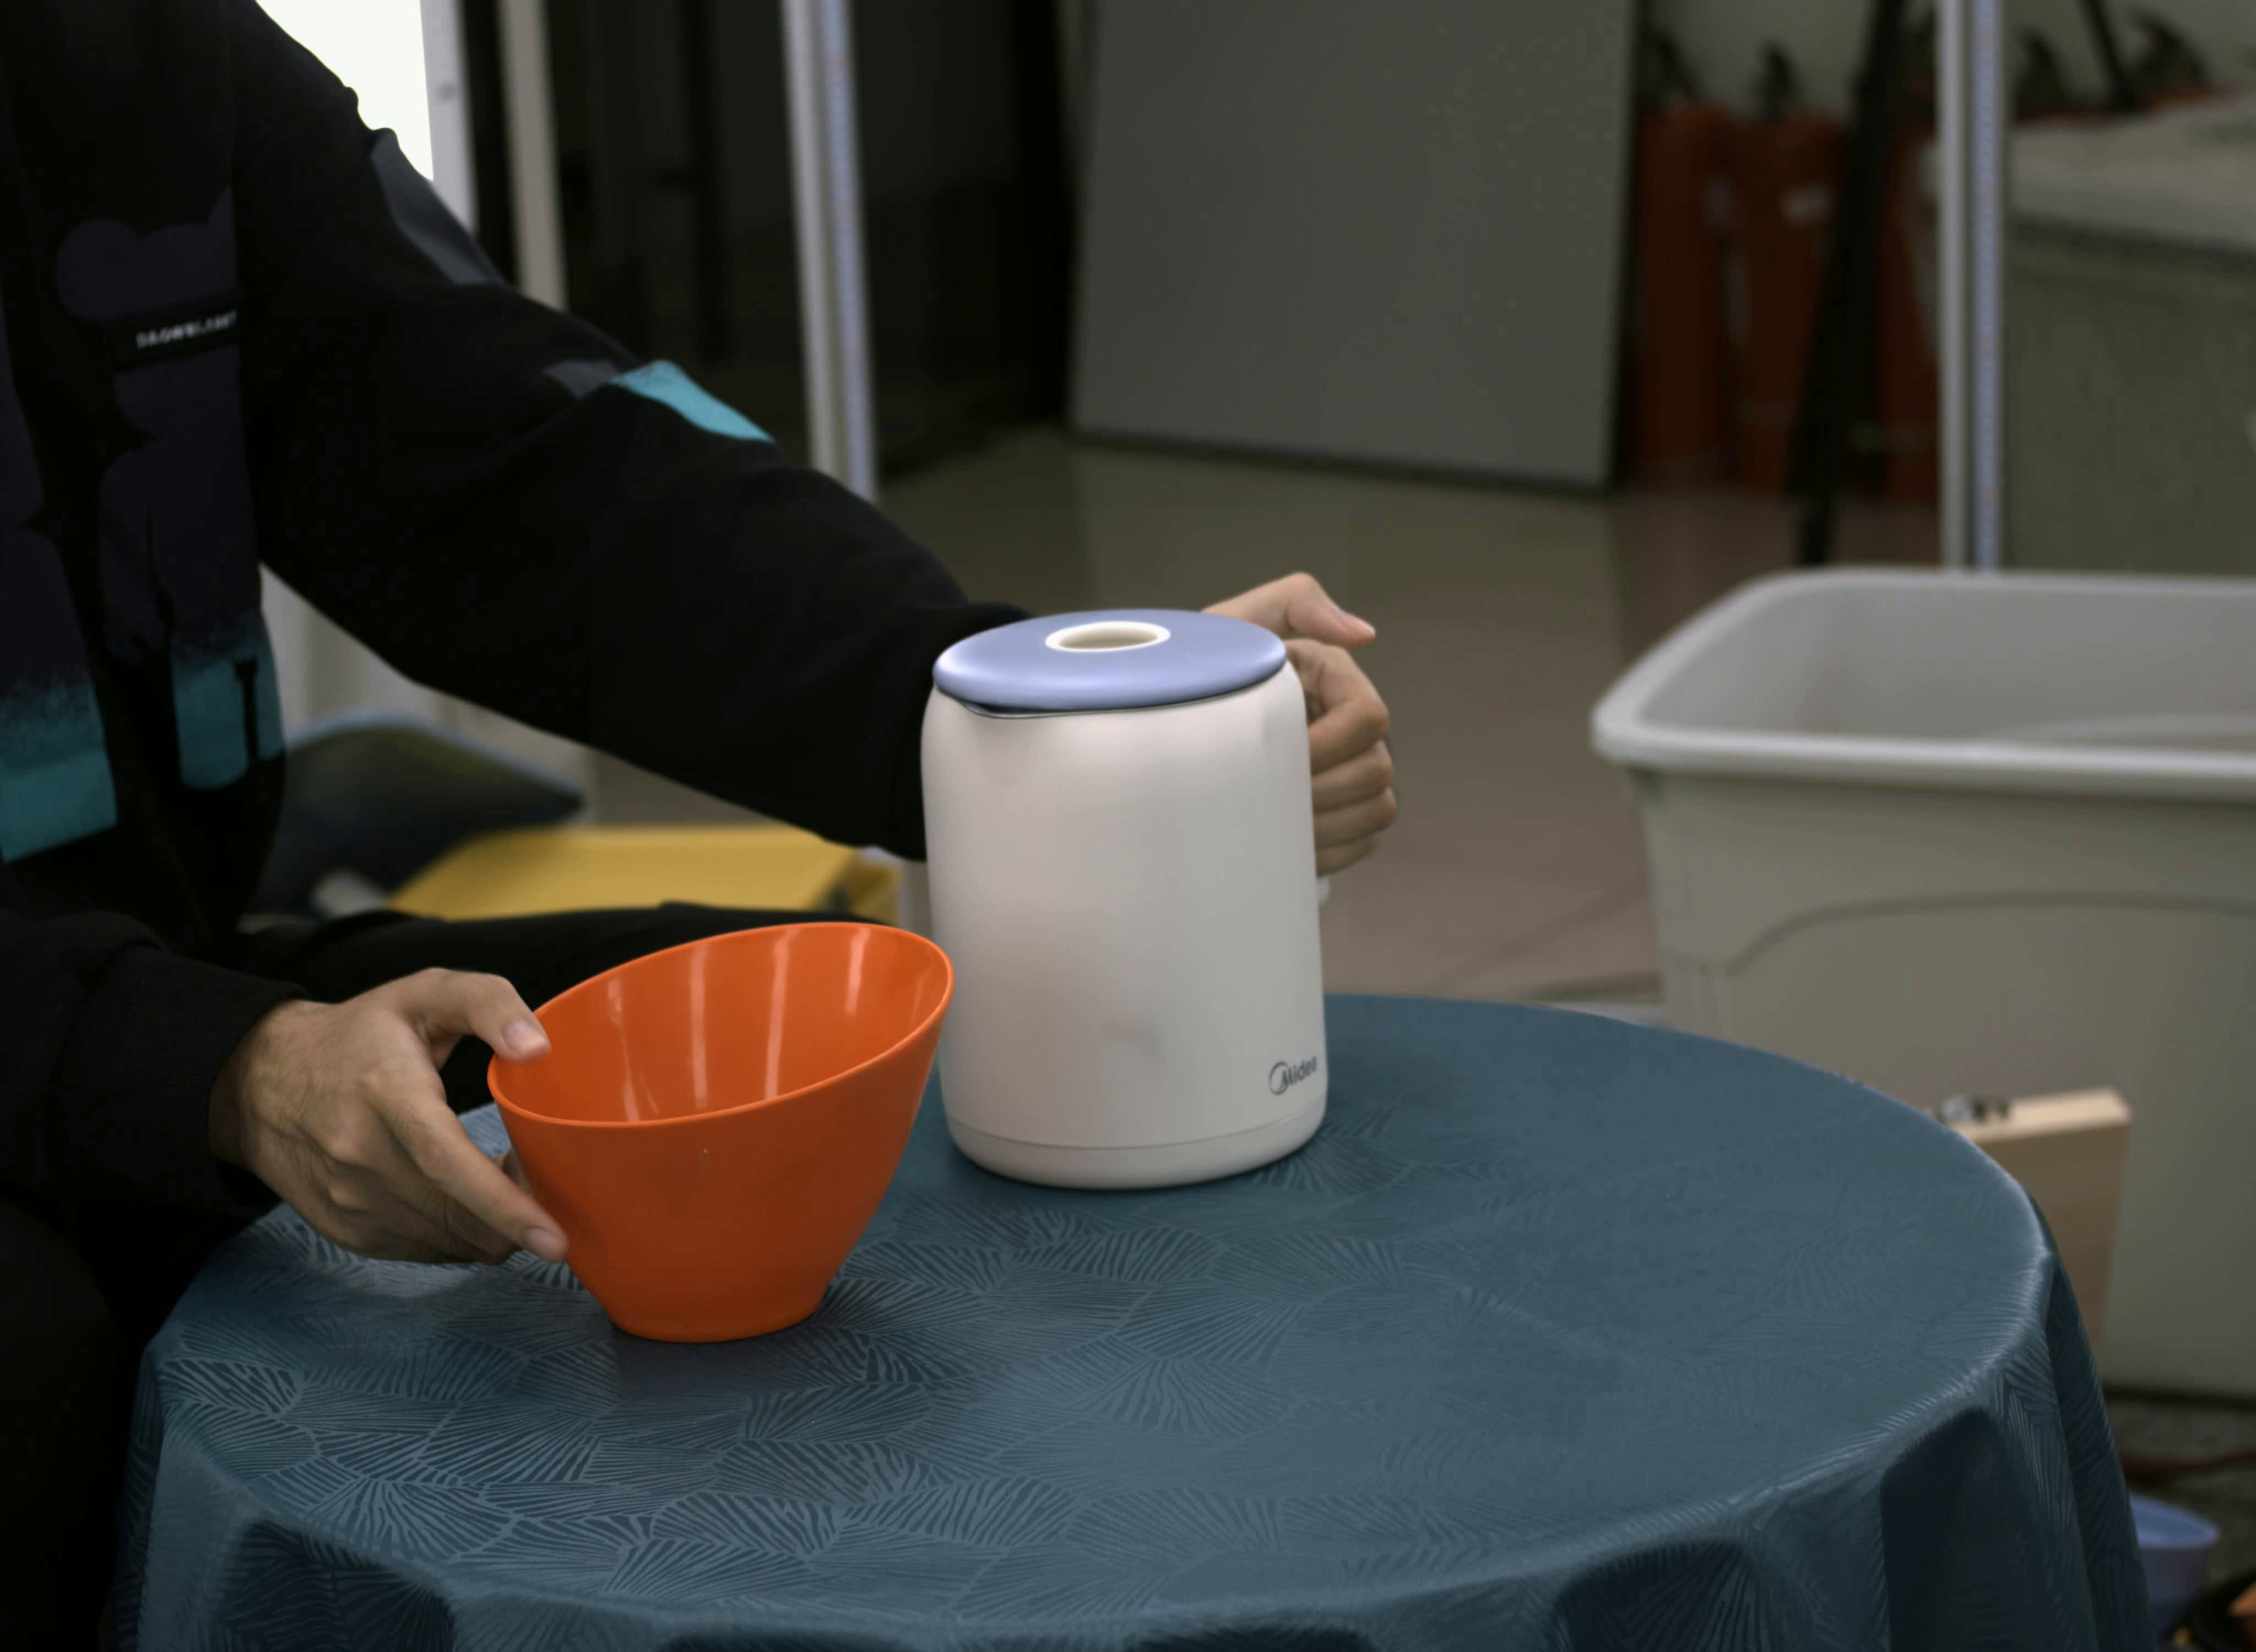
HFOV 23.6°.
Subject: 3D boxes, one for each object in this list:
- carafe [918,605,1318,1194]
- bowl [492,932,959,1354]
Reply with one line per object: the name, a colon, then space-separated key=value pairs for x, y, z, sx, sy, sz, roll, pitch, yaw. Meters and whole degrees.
carafe: x=0.010 y=0.019 z=1.827 sx=0.133 sy=0.184 sz=0.188 roll=6 pitch=14 yaw=32
bowl: x=-0.121 y=0.101 z=1.678 sx=0.146 sy=0.106 sz=0.148 roll=-4 pitch=13 yaw=0
